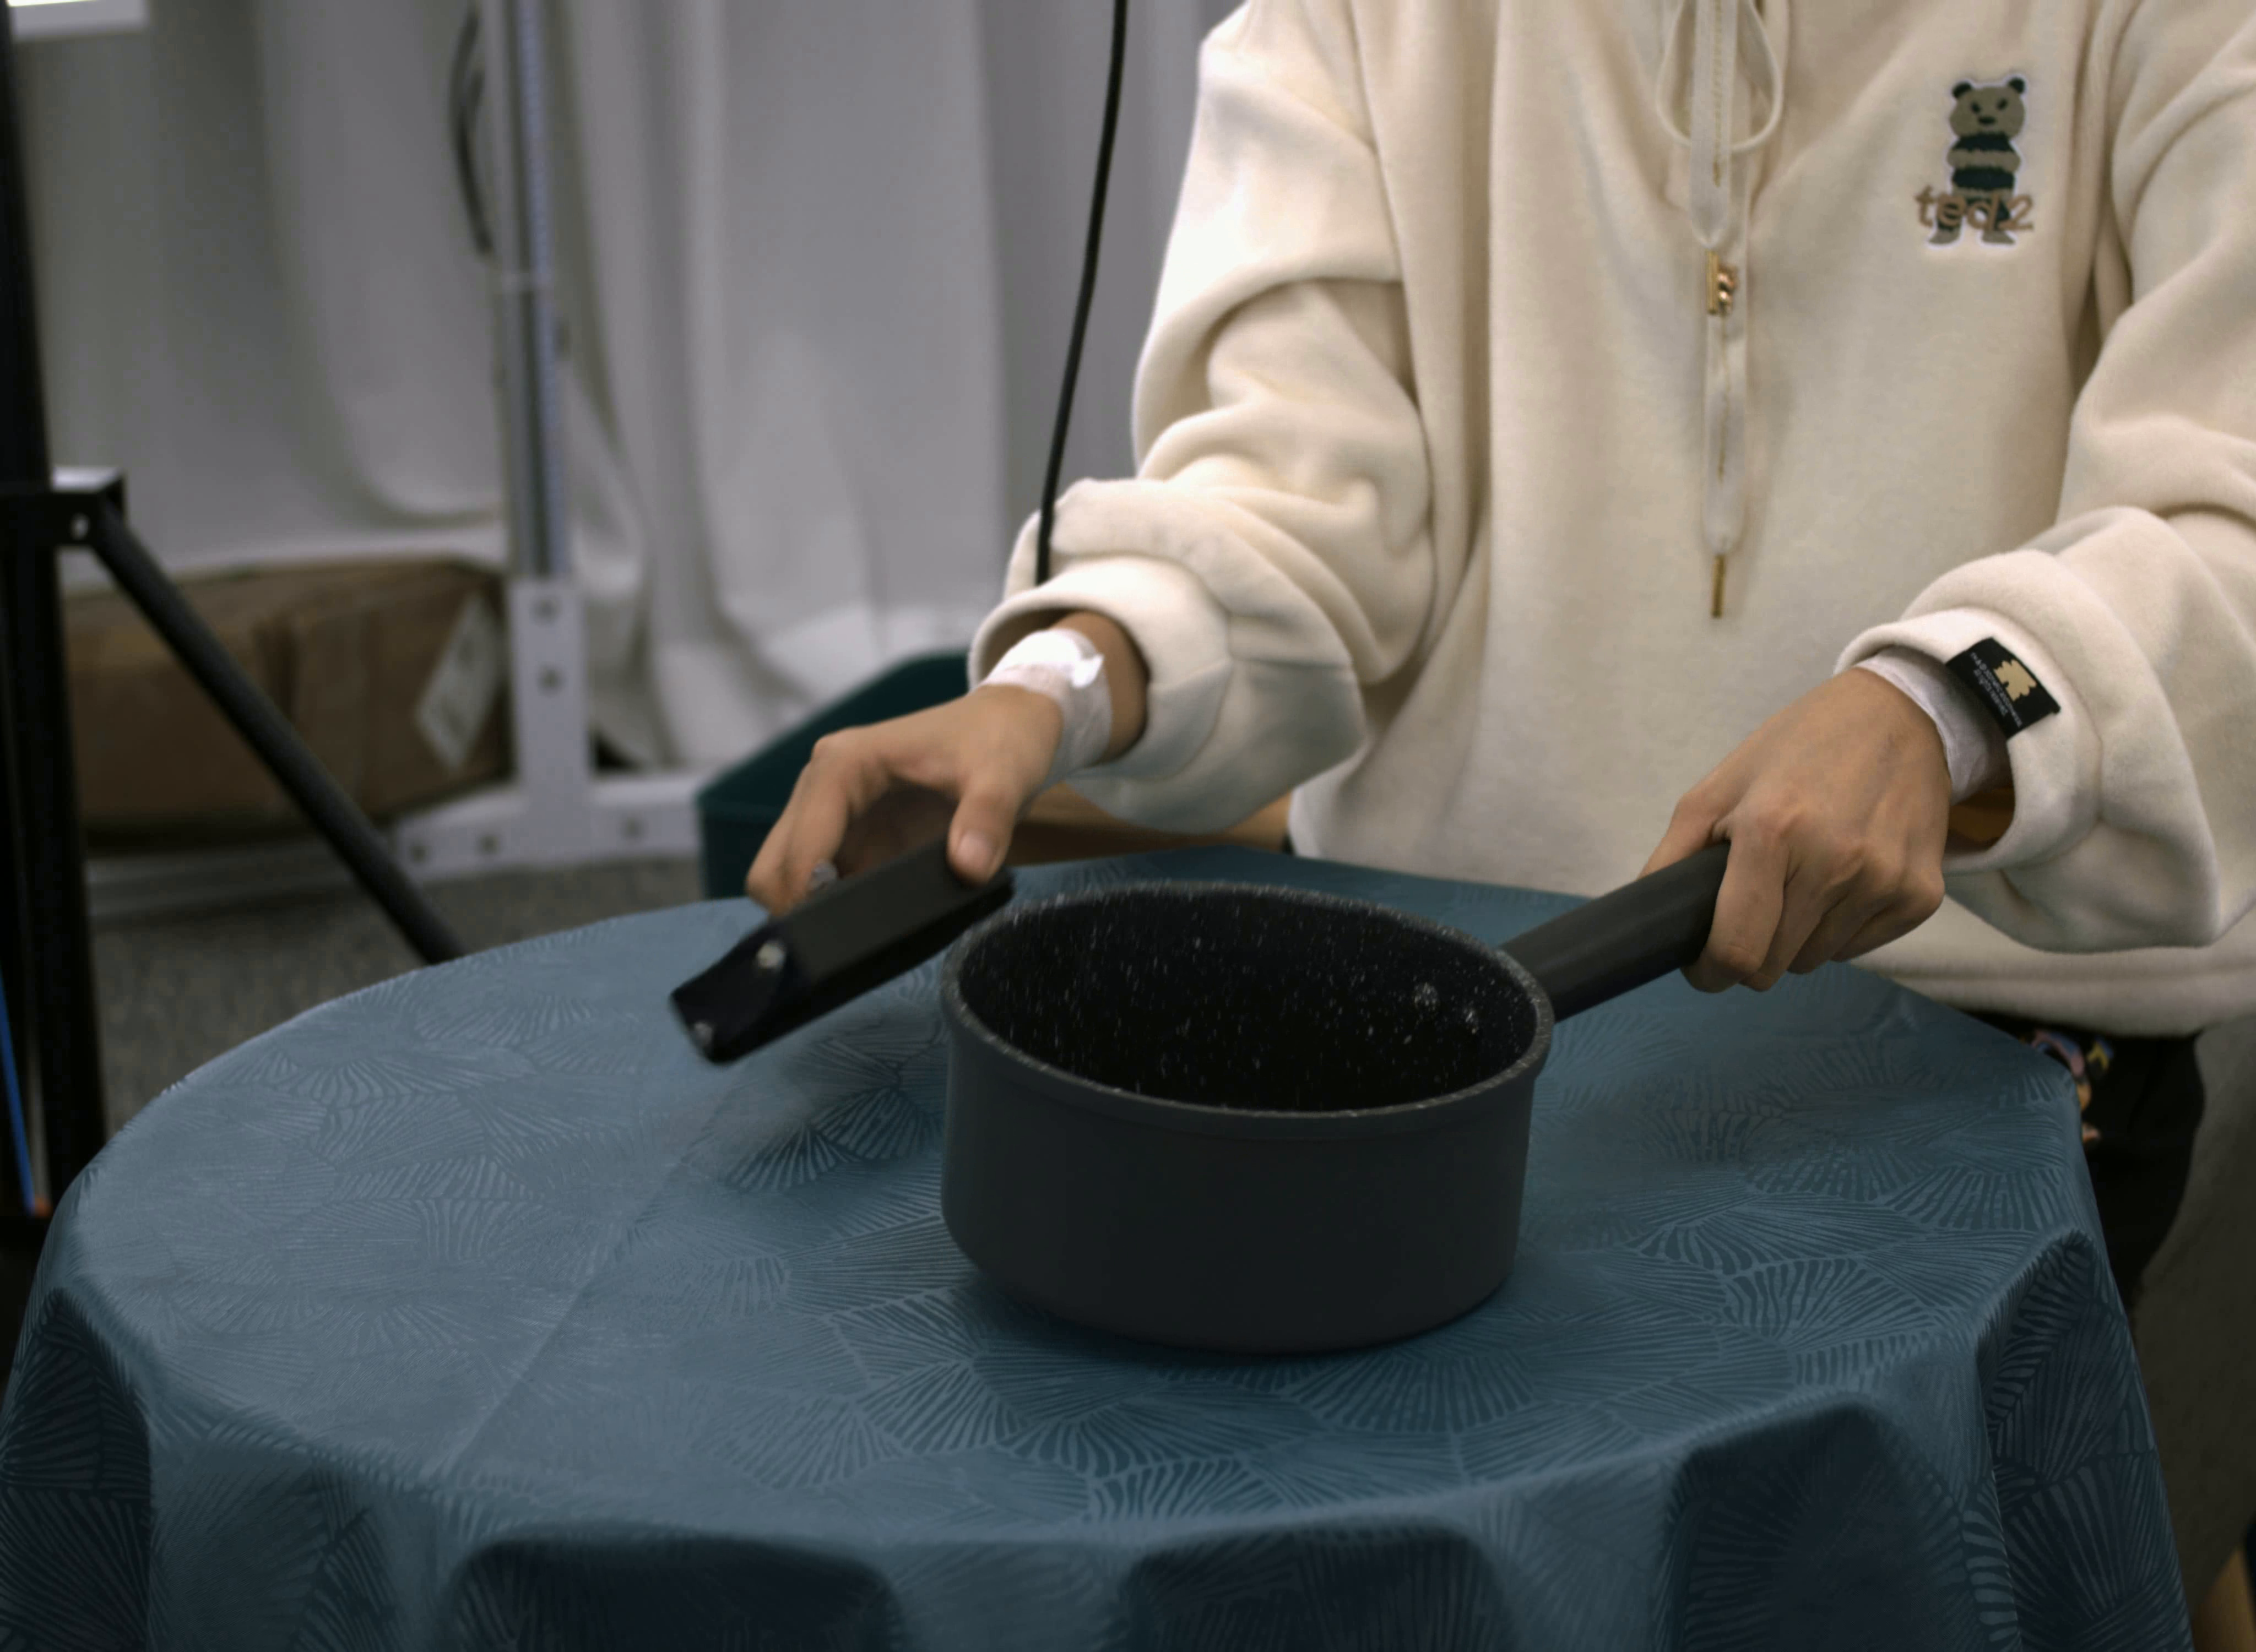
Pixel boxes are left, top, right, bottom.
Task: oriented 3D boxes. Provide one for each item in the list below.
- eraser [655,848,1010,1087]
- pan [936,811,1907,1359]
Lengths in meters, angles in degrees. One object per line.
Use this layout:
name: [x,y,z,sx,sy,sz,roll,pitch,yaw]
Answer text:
eraser: [-0.089,0.043,1.636,0.054,0.030,0.123,-31,-2,34]
pan: [0.093,0.067,1.520,0.321,0.086,0.176,-13,25,-33]
